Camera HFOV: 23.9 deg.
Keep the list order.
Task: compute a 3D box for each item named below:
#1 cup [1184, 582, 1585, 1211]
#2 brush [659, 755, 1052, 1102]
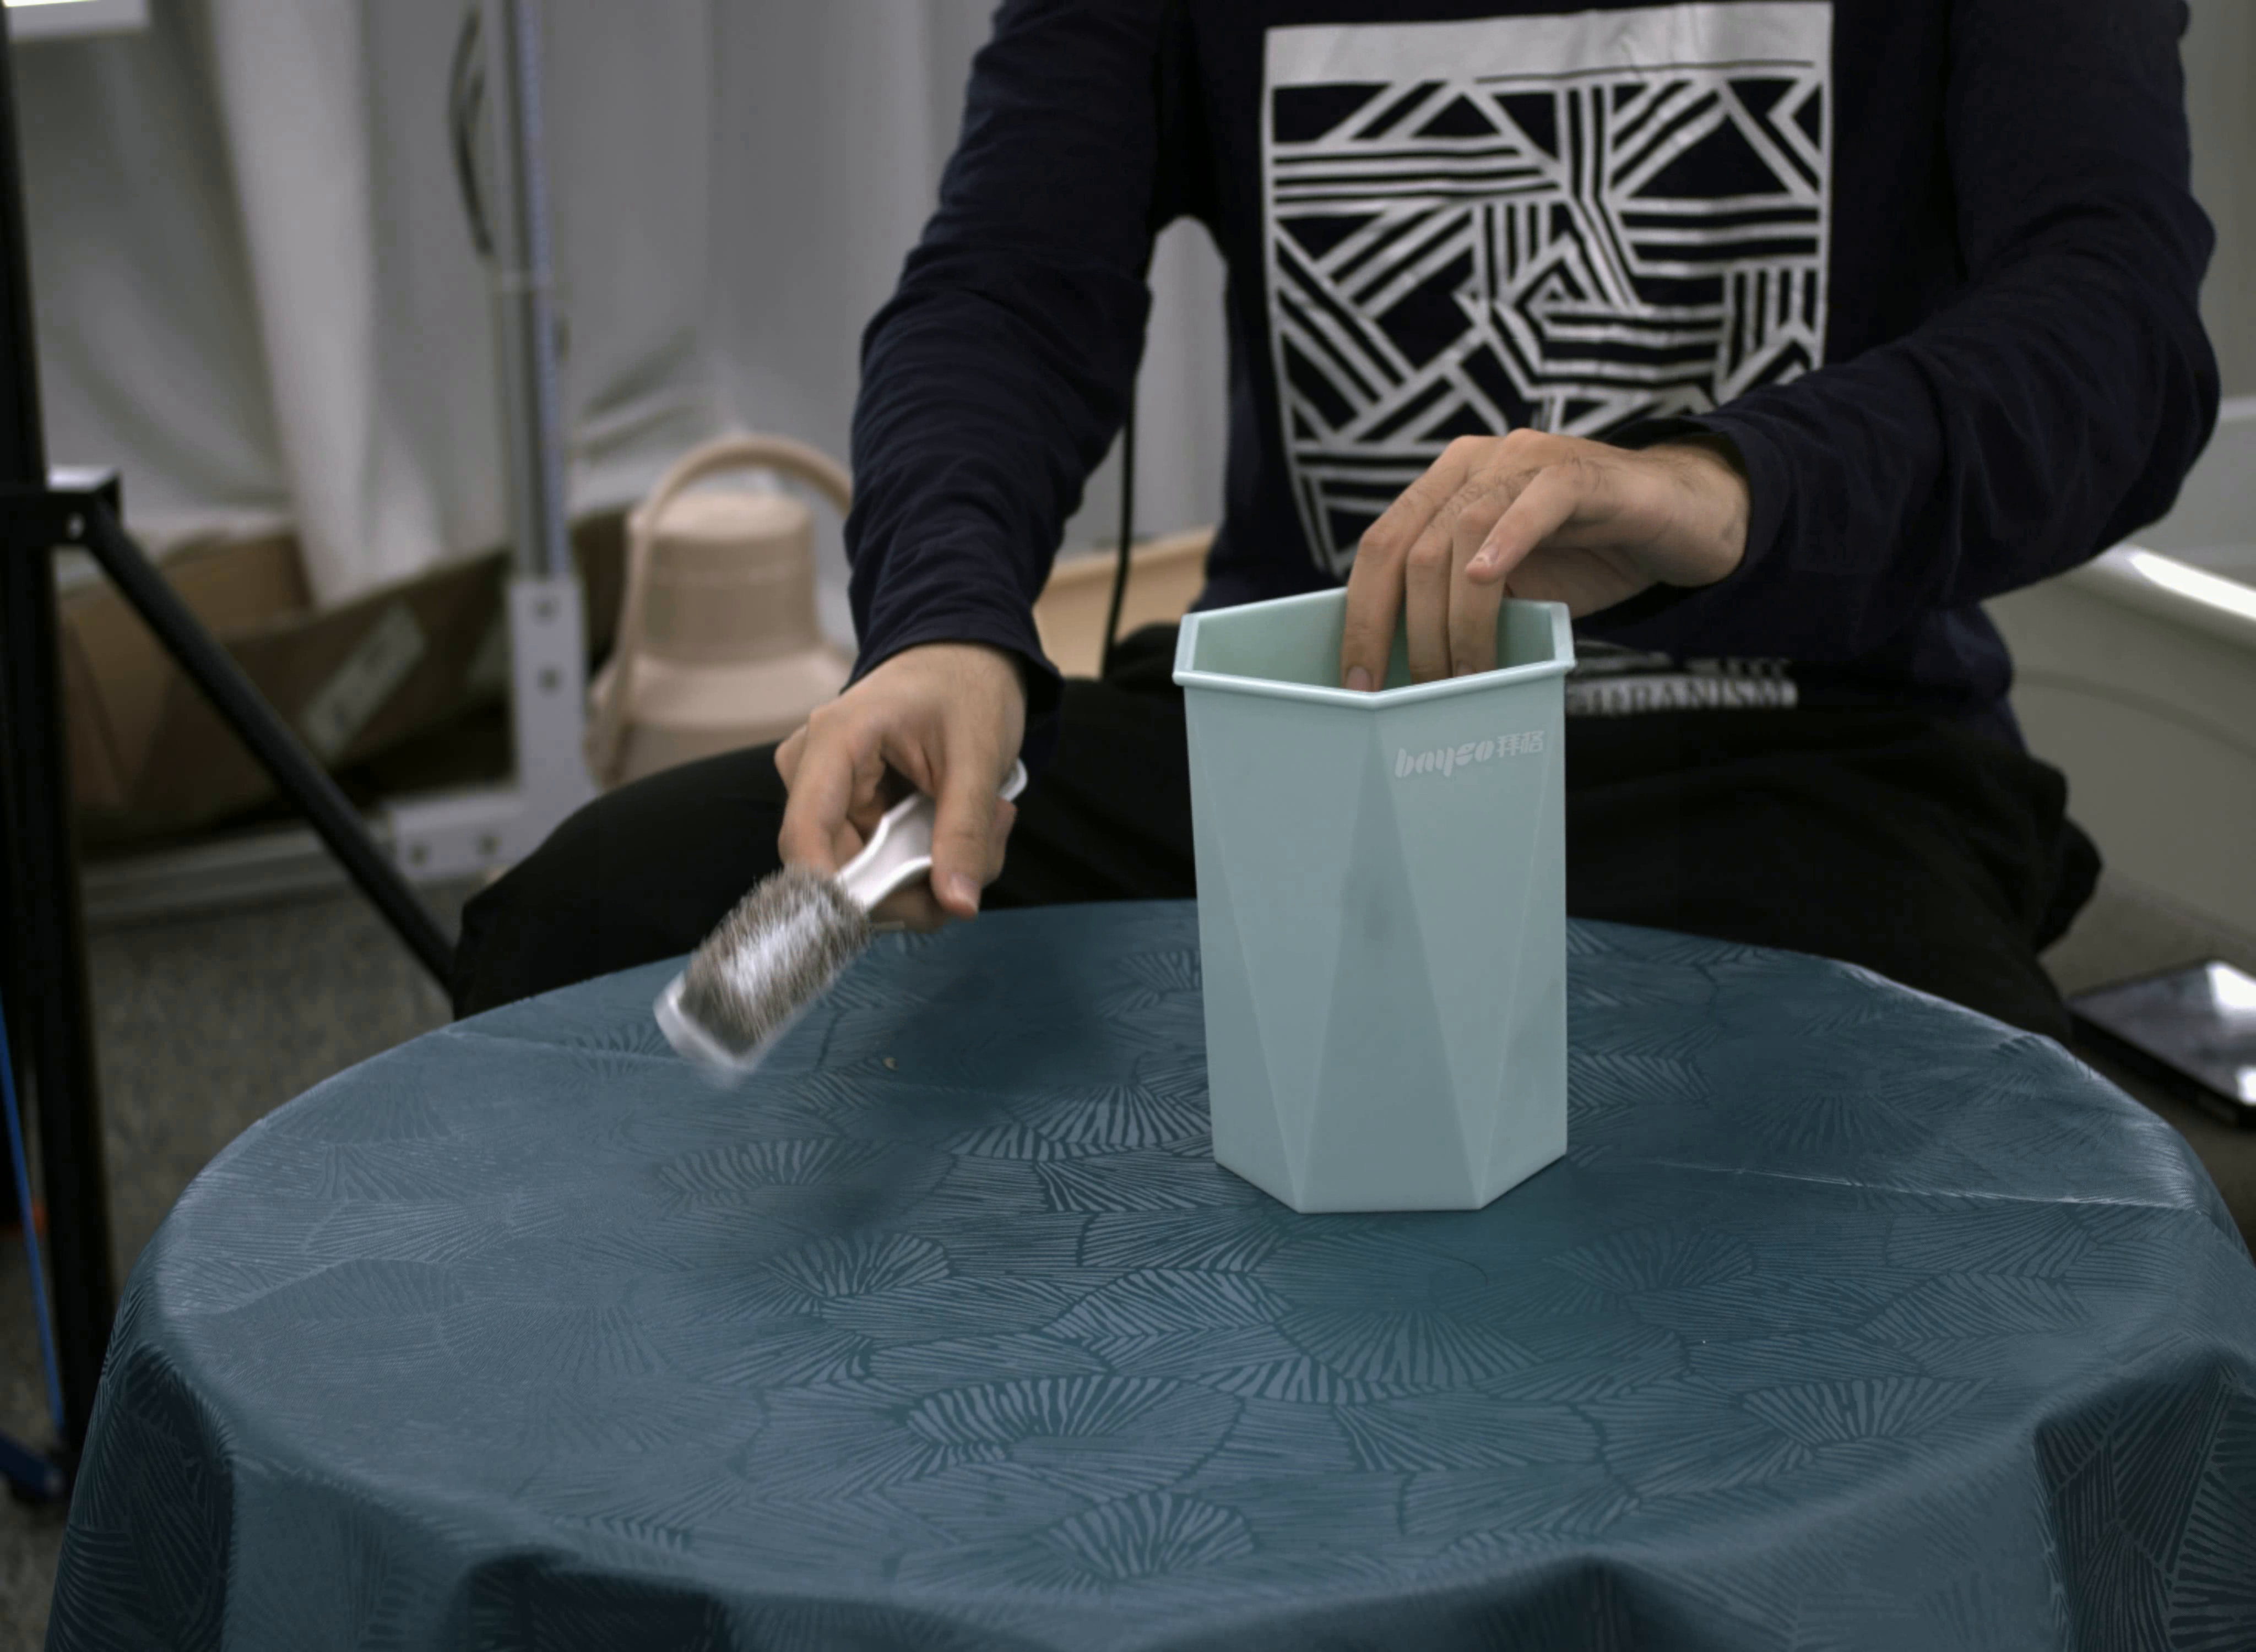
[{"bbox_3d":[0.076,0.021,1.555,0.128,0.163,0.117,-9,16,-27],"label":"cup"},{"bbox_3d":[-0.072,0.015,1.631,0.034,0.050,0.240,36,34,8],"label":"brush"}]
